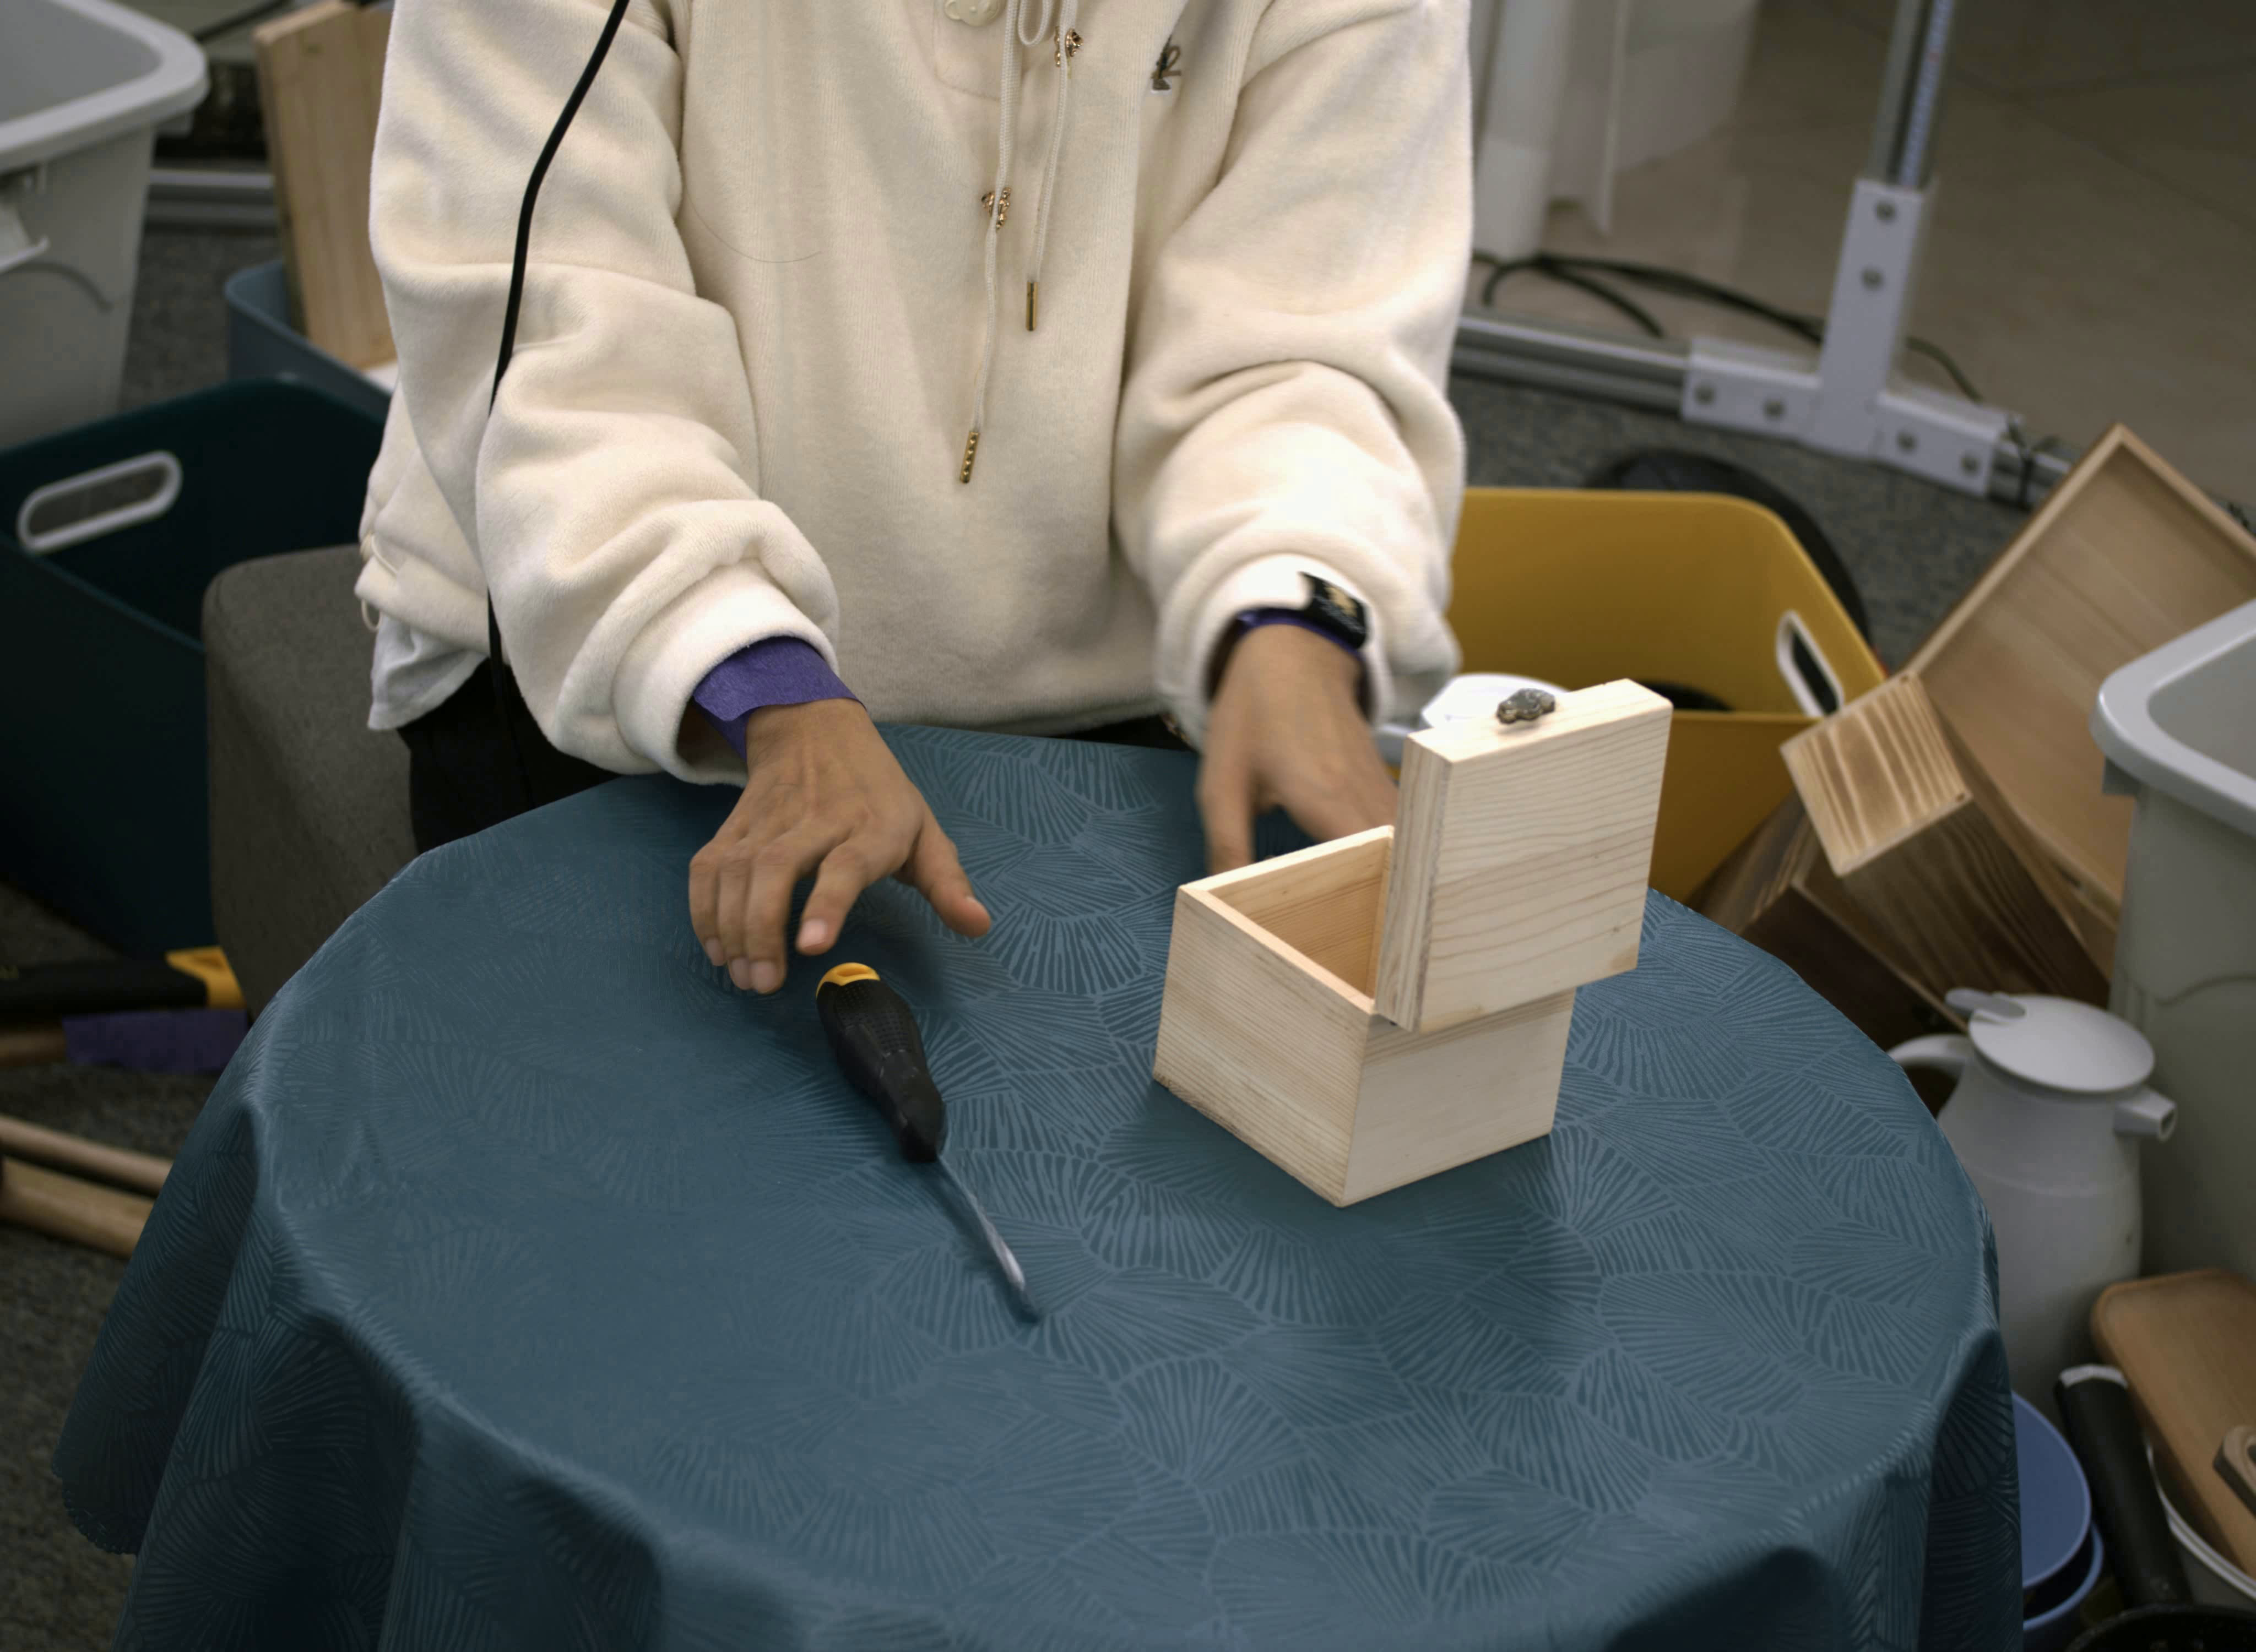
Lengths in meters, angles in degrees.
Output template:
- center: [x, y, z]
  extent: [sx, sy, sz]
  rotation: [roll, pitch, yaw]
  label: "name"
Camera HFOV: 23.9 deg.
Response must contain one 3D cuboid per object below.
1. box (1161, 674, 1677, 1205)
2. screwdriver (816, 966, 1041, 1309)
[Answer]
- center: [0.096, 0.021, 1.822]
  extent: [0.102, 0.184, 0.135]
  rotation: [-16, 35, -38]
  label: "box"
- center: [-0.069, 0.106, 1.797]
  extent: [0.031, 0.031, 0.199]
  rotation: [-3, 31, -19]
  label: "screwdriver"
